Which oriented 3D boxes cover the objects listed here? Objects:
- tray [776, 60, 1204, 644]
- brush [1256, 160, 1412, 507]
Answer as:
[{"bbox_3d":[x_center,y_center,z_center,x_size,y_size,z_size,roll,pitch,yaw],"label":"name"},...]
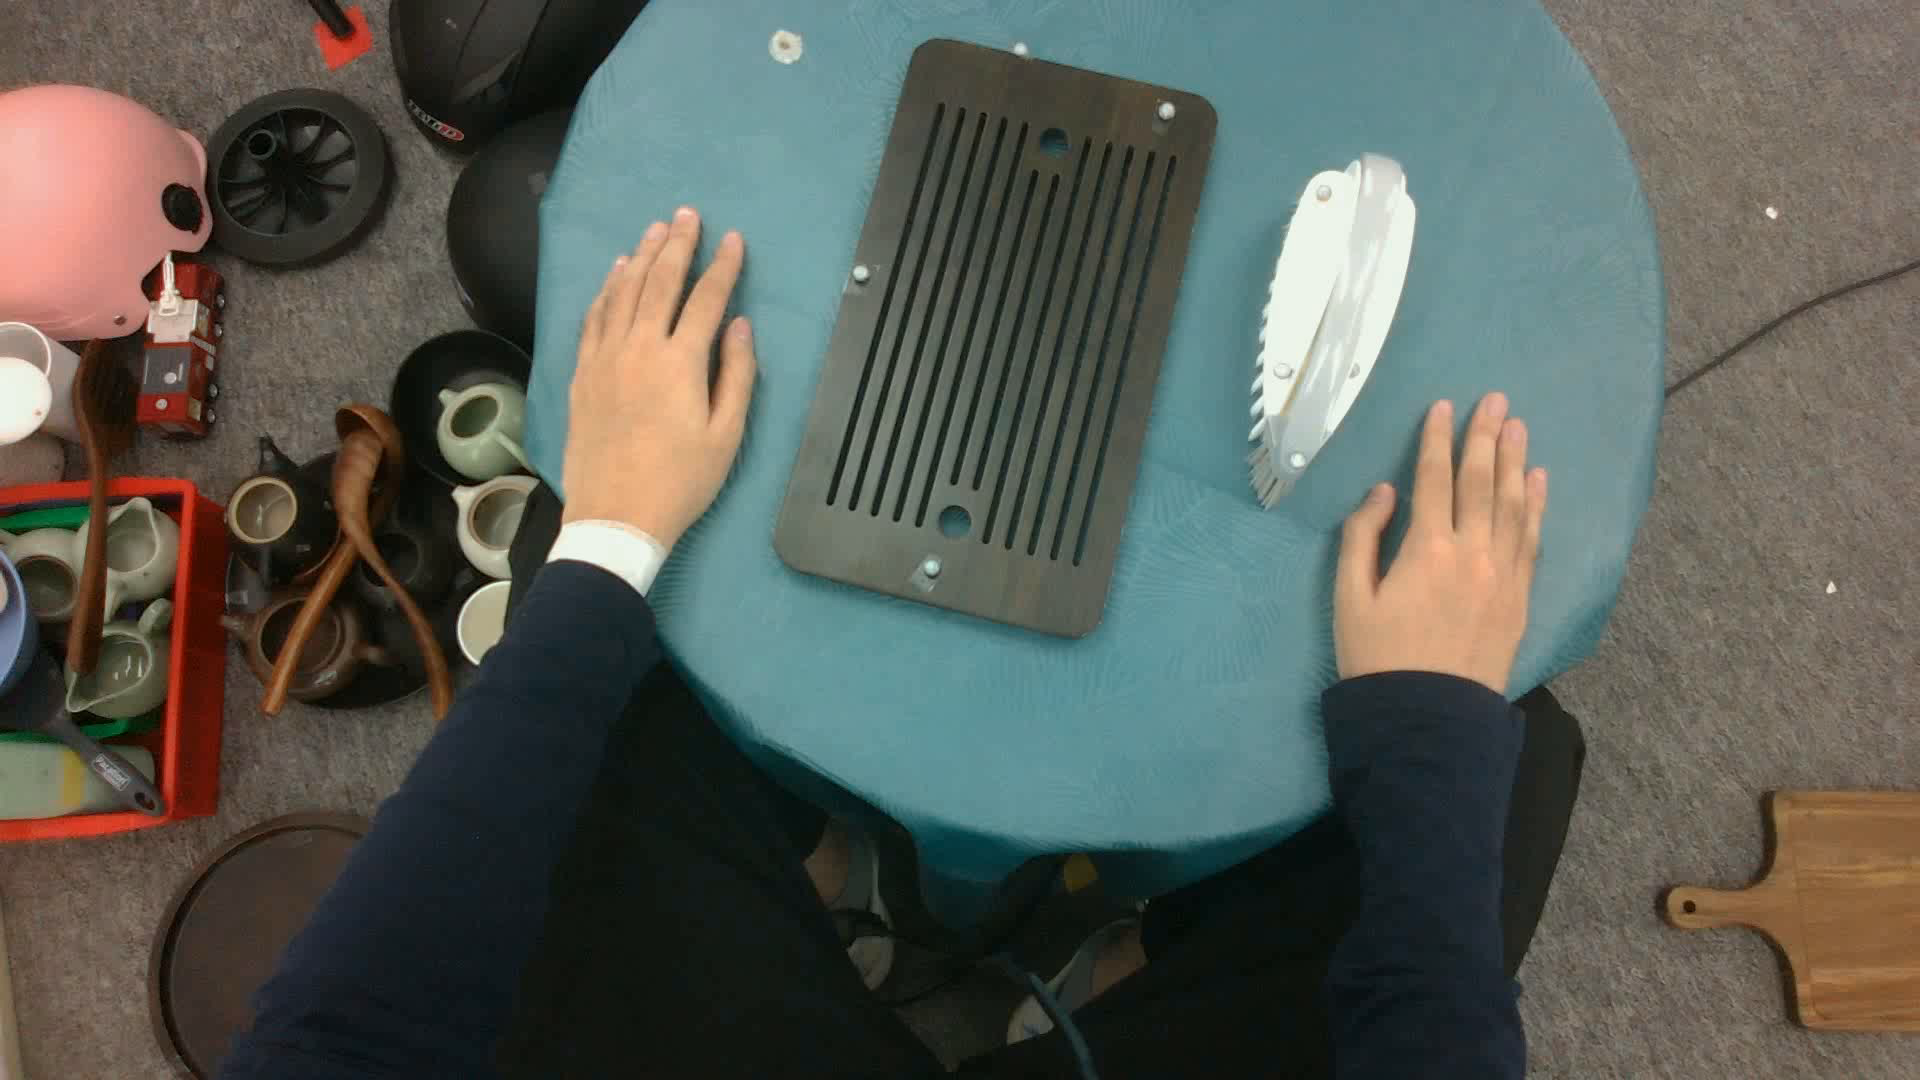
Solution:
[{"bbox_3d":[0.020,-0.107,0.732,0.170,0.018,0.306,12,77,4],"label":"tray"},{"bbox_3d":[0.185,-0.108,0.692,0.061,0.094,0.176,16,79,5],"label":"brush"}]
